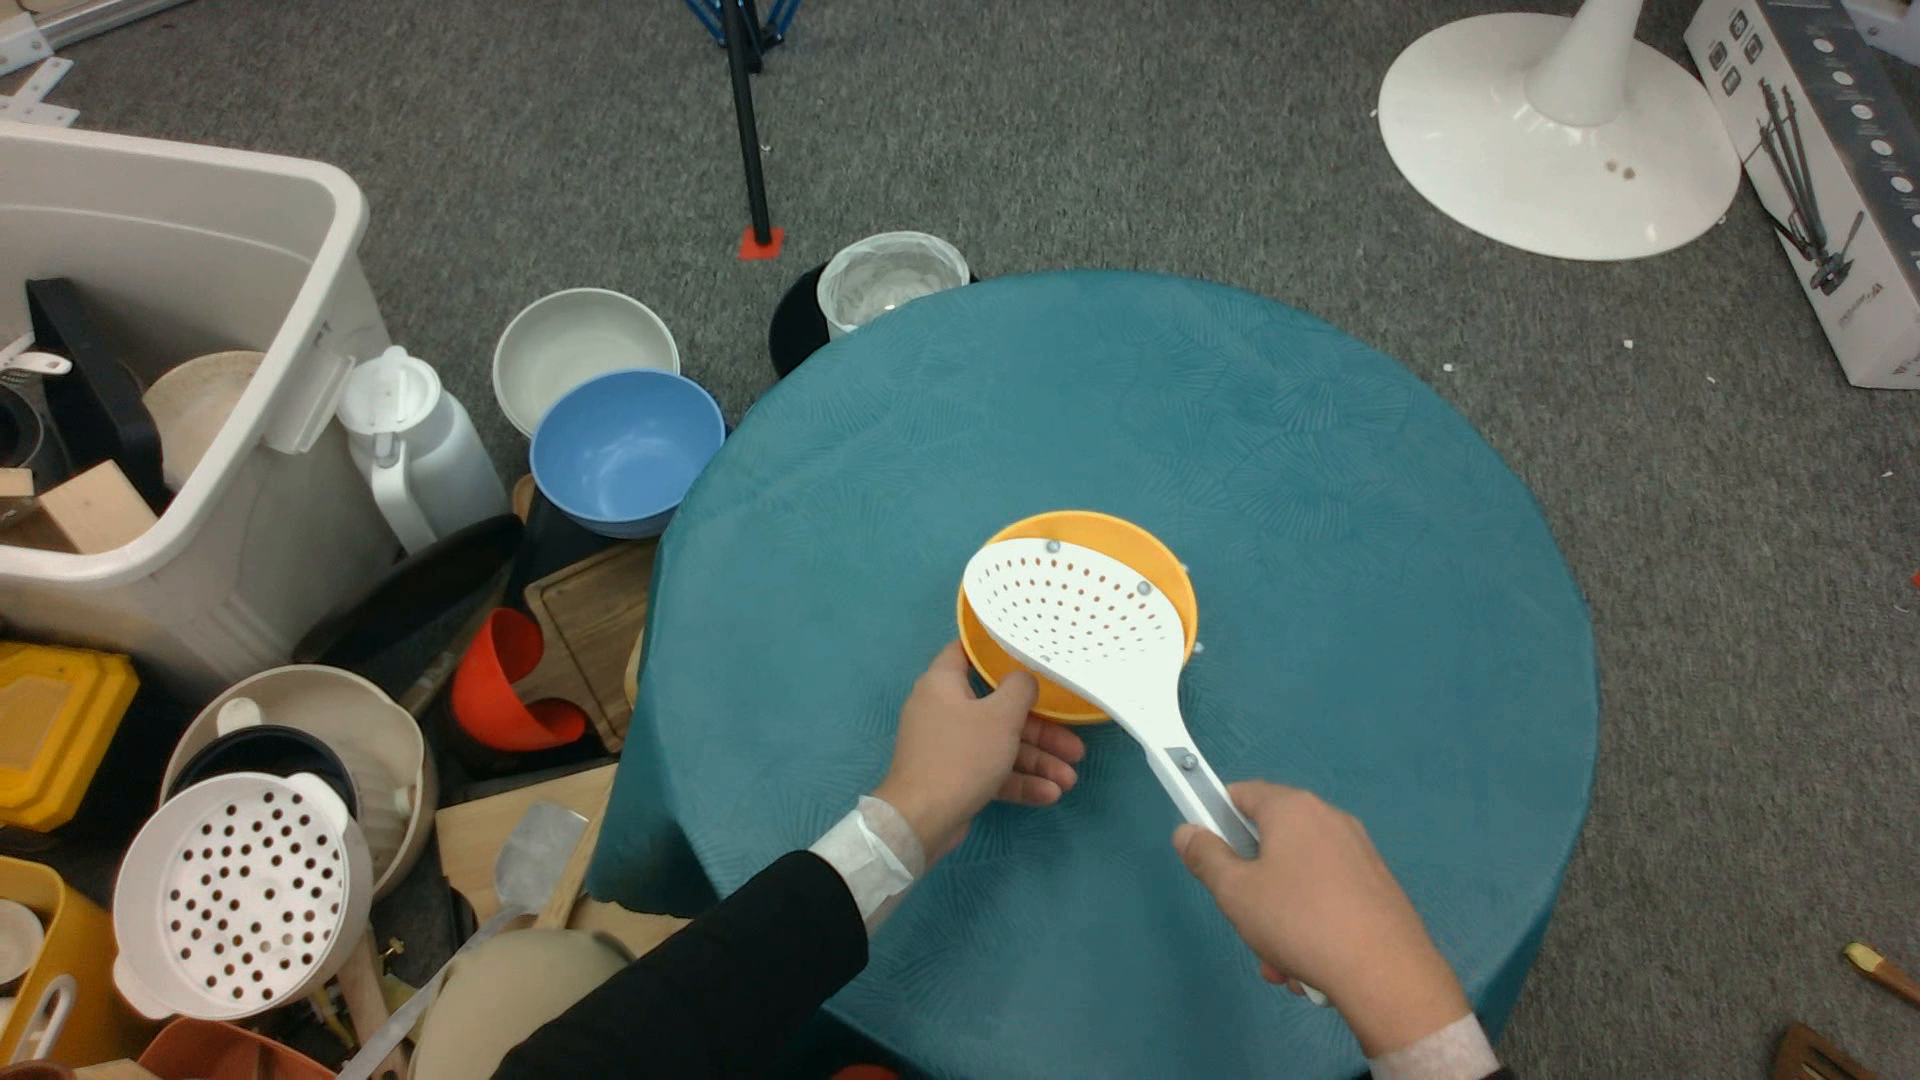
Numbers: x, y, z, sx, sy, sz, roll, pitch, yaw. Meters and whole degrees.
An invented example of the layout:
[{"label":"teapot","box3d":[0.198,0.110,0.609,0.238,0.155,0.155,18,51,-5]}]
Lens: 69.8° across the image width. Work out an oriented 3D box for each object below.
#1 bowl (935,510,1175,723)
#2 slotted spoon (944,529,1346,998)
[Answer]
[{"label":"bowl","box3d":[0.057,0.056,0.844,0.145,0.060,0.146,0,56,1]},{"label":"slotted spoon","box3d":[0.096,0.101,0.741,0.136,0.045,0.350,0,30,-29]}]
